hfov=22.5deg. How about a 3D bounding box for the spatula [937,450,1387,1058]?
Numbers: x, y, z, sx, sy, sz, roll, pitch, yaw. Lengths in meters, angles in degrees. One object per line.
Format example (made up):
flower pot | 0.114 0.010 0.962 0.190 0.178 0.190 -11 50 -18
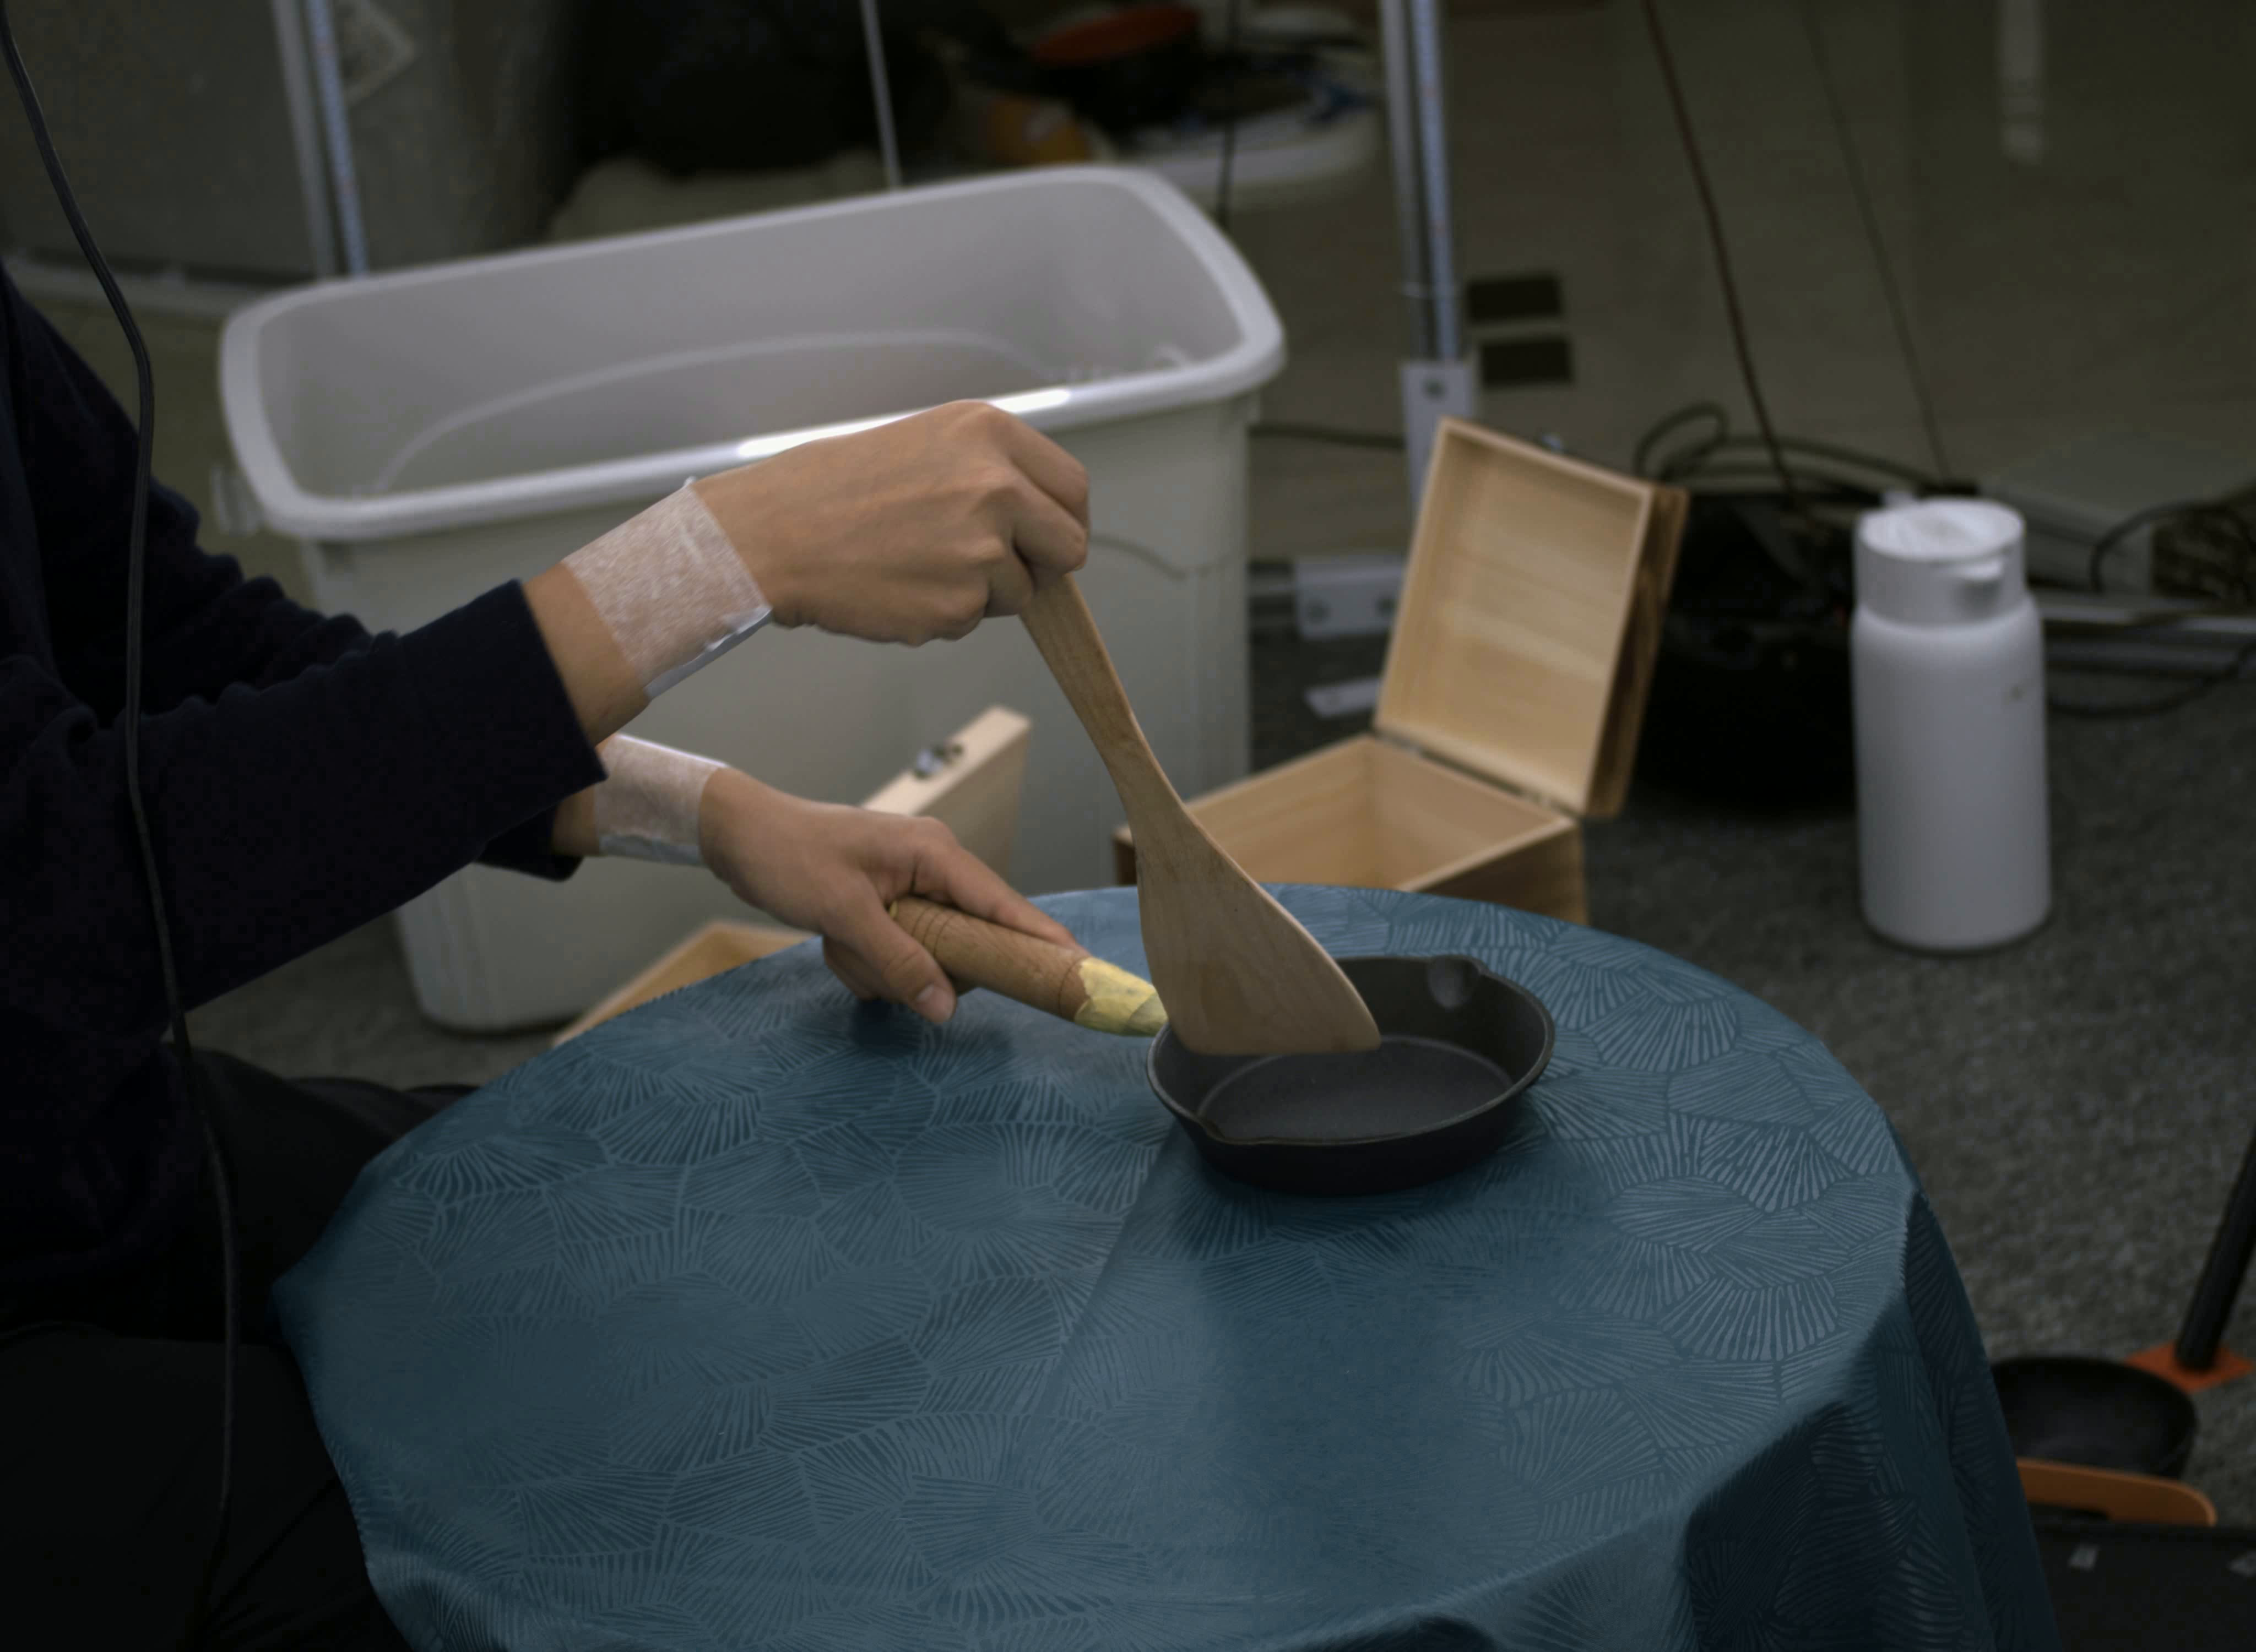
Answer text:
spatula | 0.003 -0.018 2.057 0.080 0.333 0.016 -10 43 22

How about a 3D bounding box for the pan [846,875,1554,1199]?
pan | 0.019 0.075 2.219 0.322 0.050 0.167 15 33 35
